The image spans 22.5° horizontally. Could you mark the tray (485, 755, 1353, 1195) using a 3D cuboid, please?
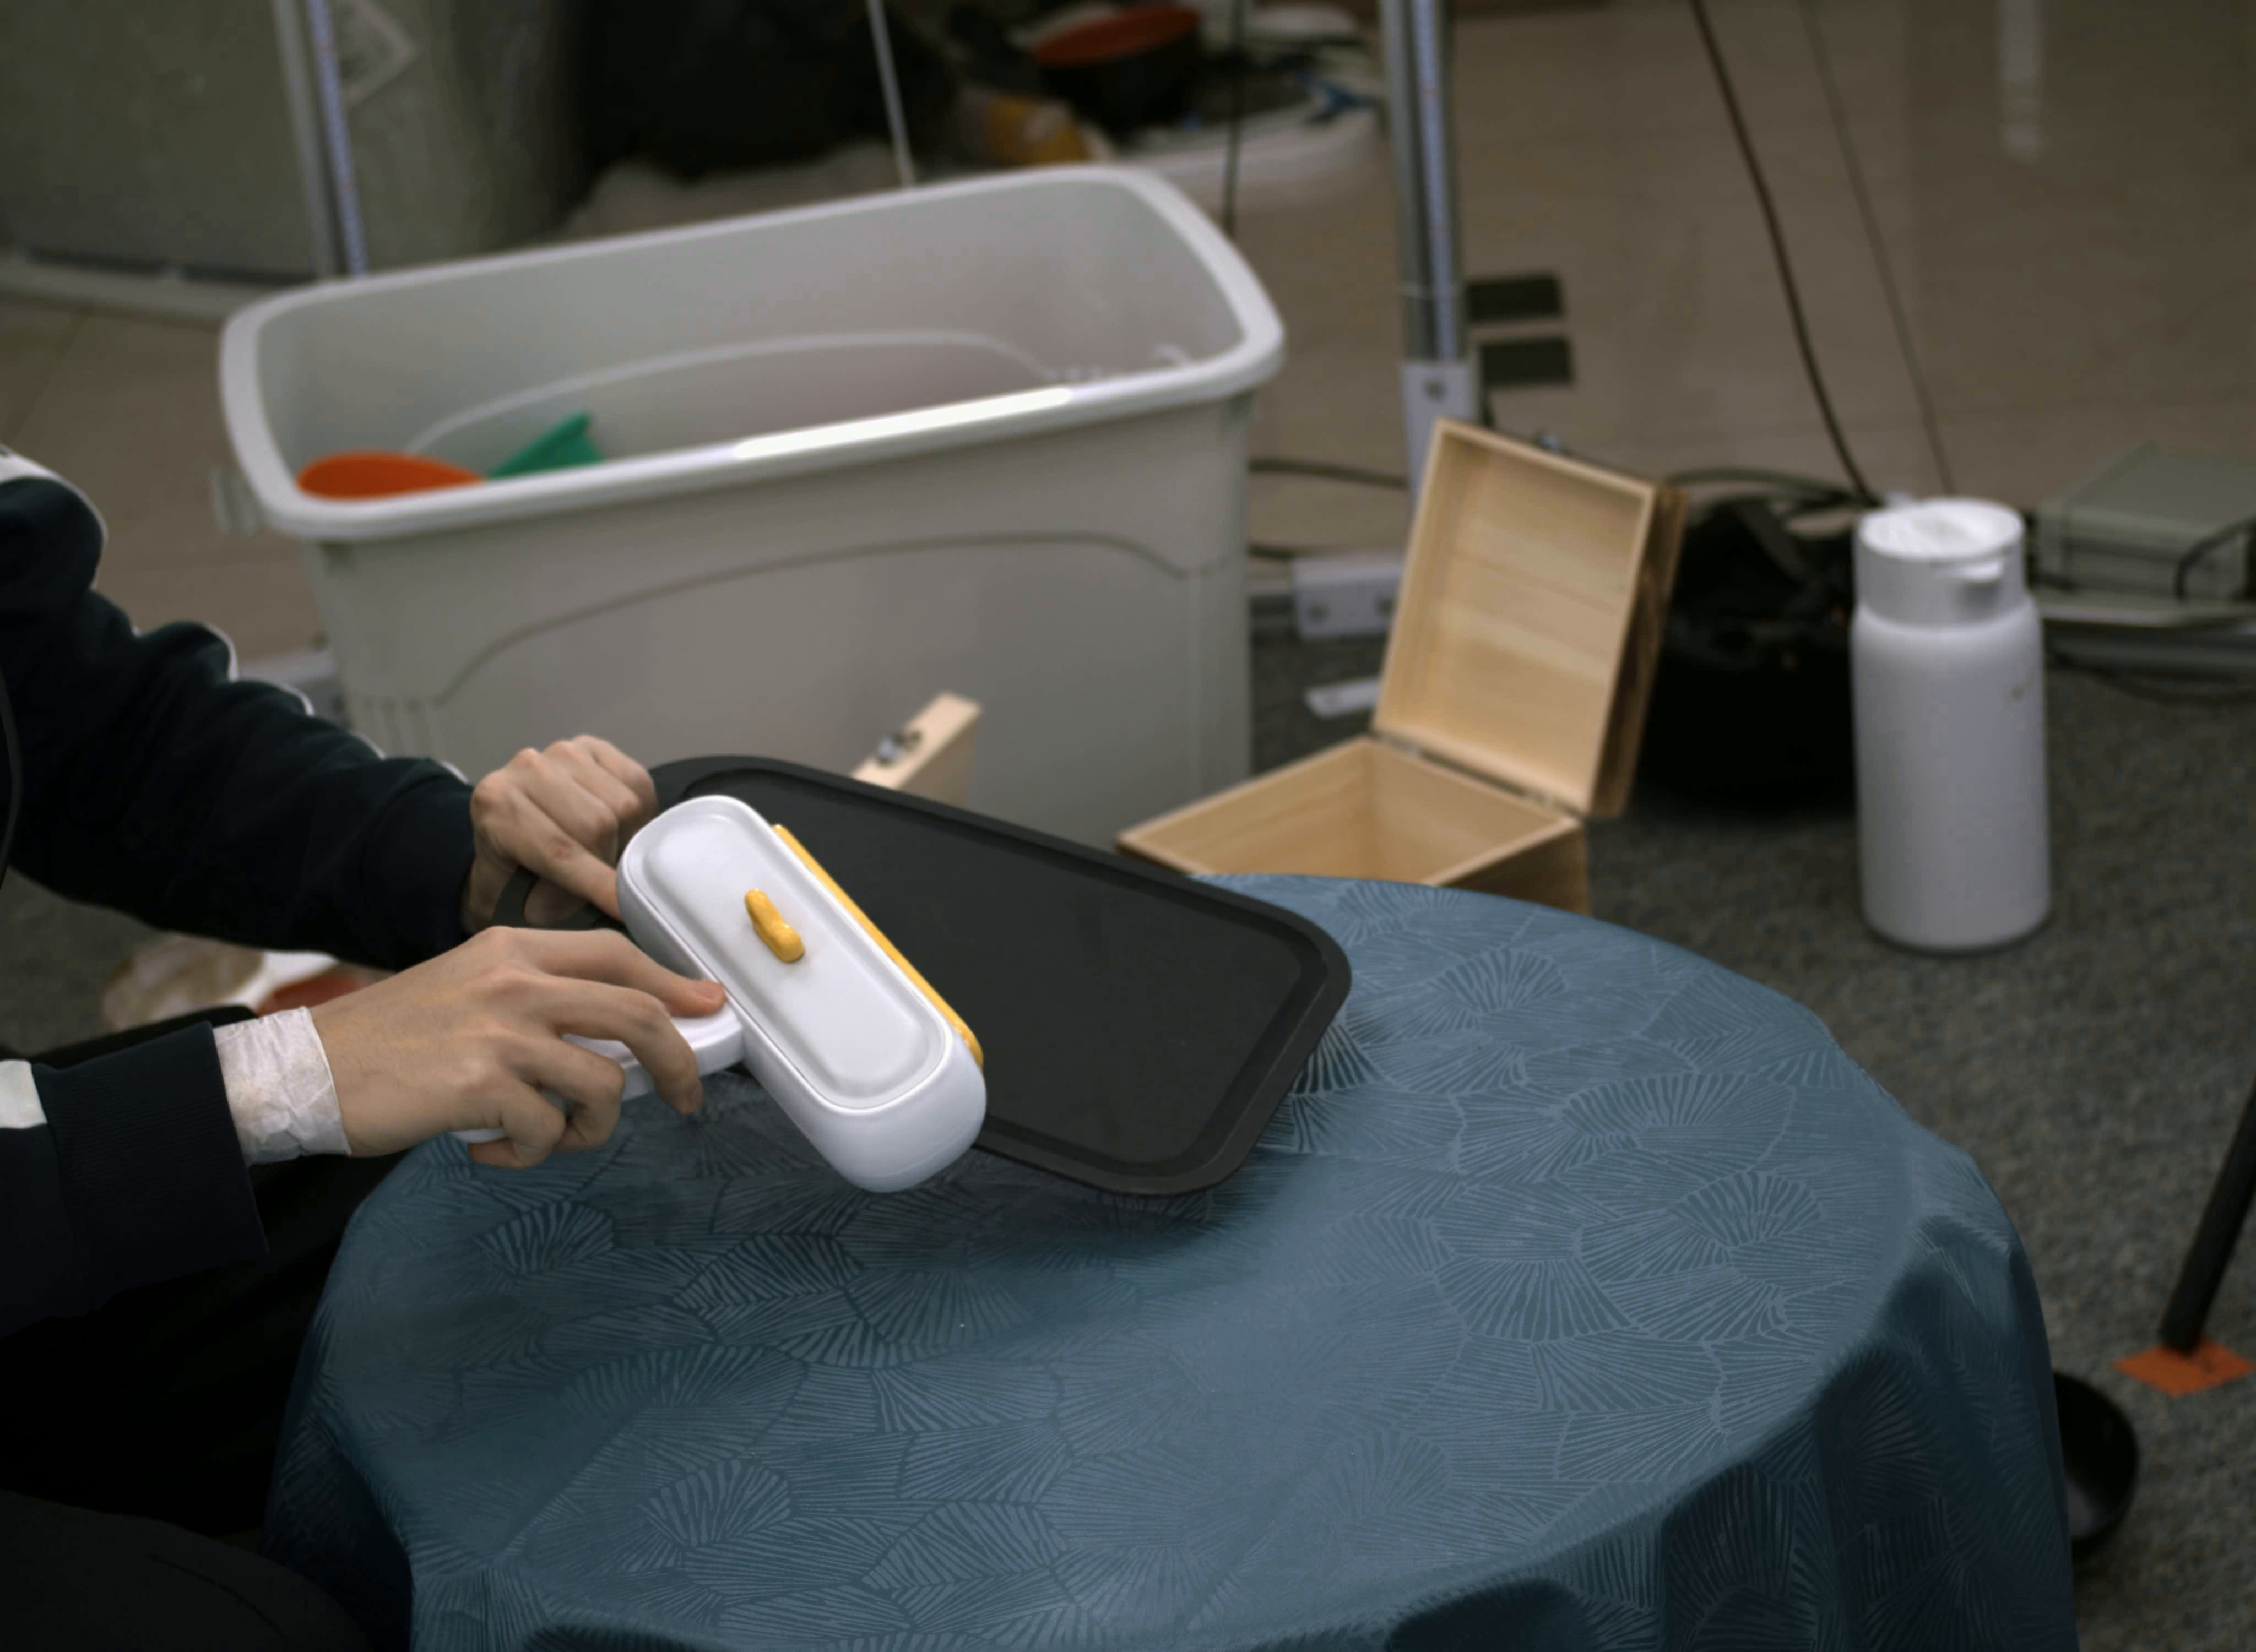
[{"bbox_3d":[-0.086,0.051,2.202,0.324,0.010,0.208,17,35,13],"label":"tray"}]

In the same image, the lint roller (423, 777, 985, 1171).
[{"bbox_3d":[-0.173,0.077,2.080,0.191,0.075,0.190,-31,57,-23],"label":"lint roller"}]
